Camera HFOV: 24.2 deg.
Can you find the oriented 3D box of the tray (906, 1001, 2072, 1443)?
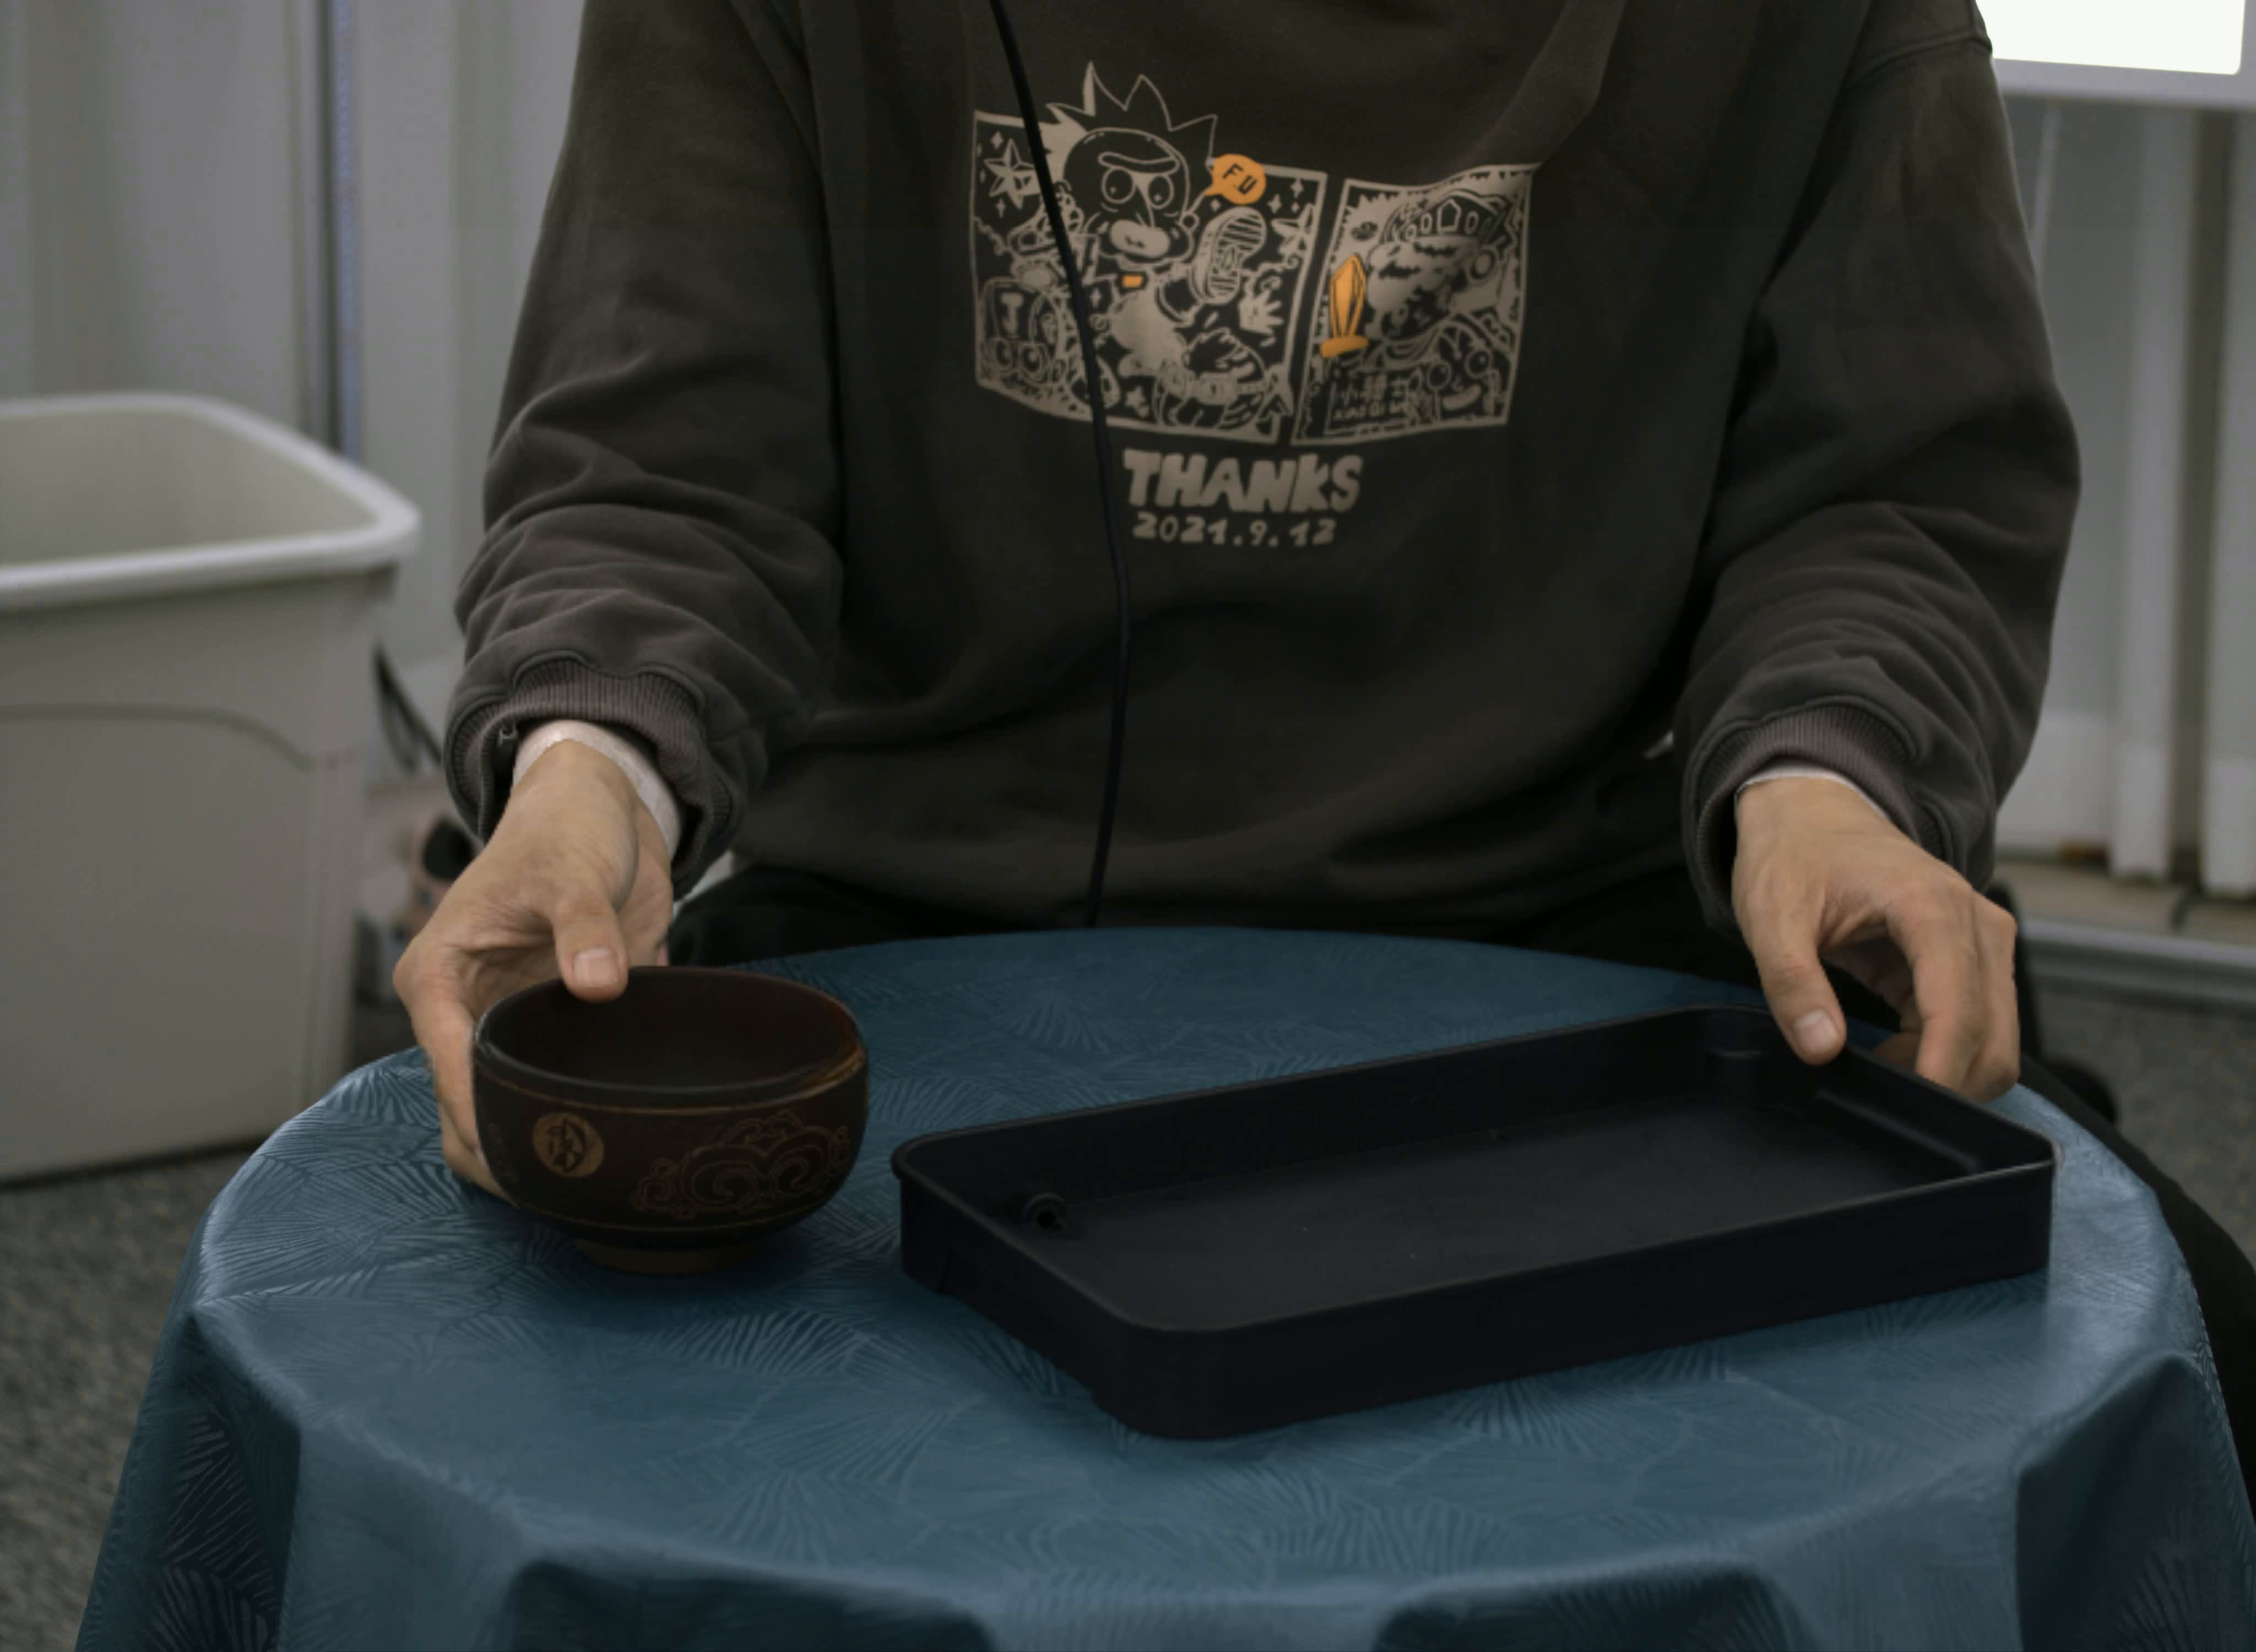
[{"bbox_3d":[0.108,0.112,1.570,0.319,0.037,0.182,-9,18,-30],"label":"tray"}]

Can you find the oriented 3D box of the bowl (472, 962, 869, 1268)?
[{"bbox_3d":[-0.136,0.090,1.569,0.117,0.070,0.117,2,16,0],"label":"bowl"}]
